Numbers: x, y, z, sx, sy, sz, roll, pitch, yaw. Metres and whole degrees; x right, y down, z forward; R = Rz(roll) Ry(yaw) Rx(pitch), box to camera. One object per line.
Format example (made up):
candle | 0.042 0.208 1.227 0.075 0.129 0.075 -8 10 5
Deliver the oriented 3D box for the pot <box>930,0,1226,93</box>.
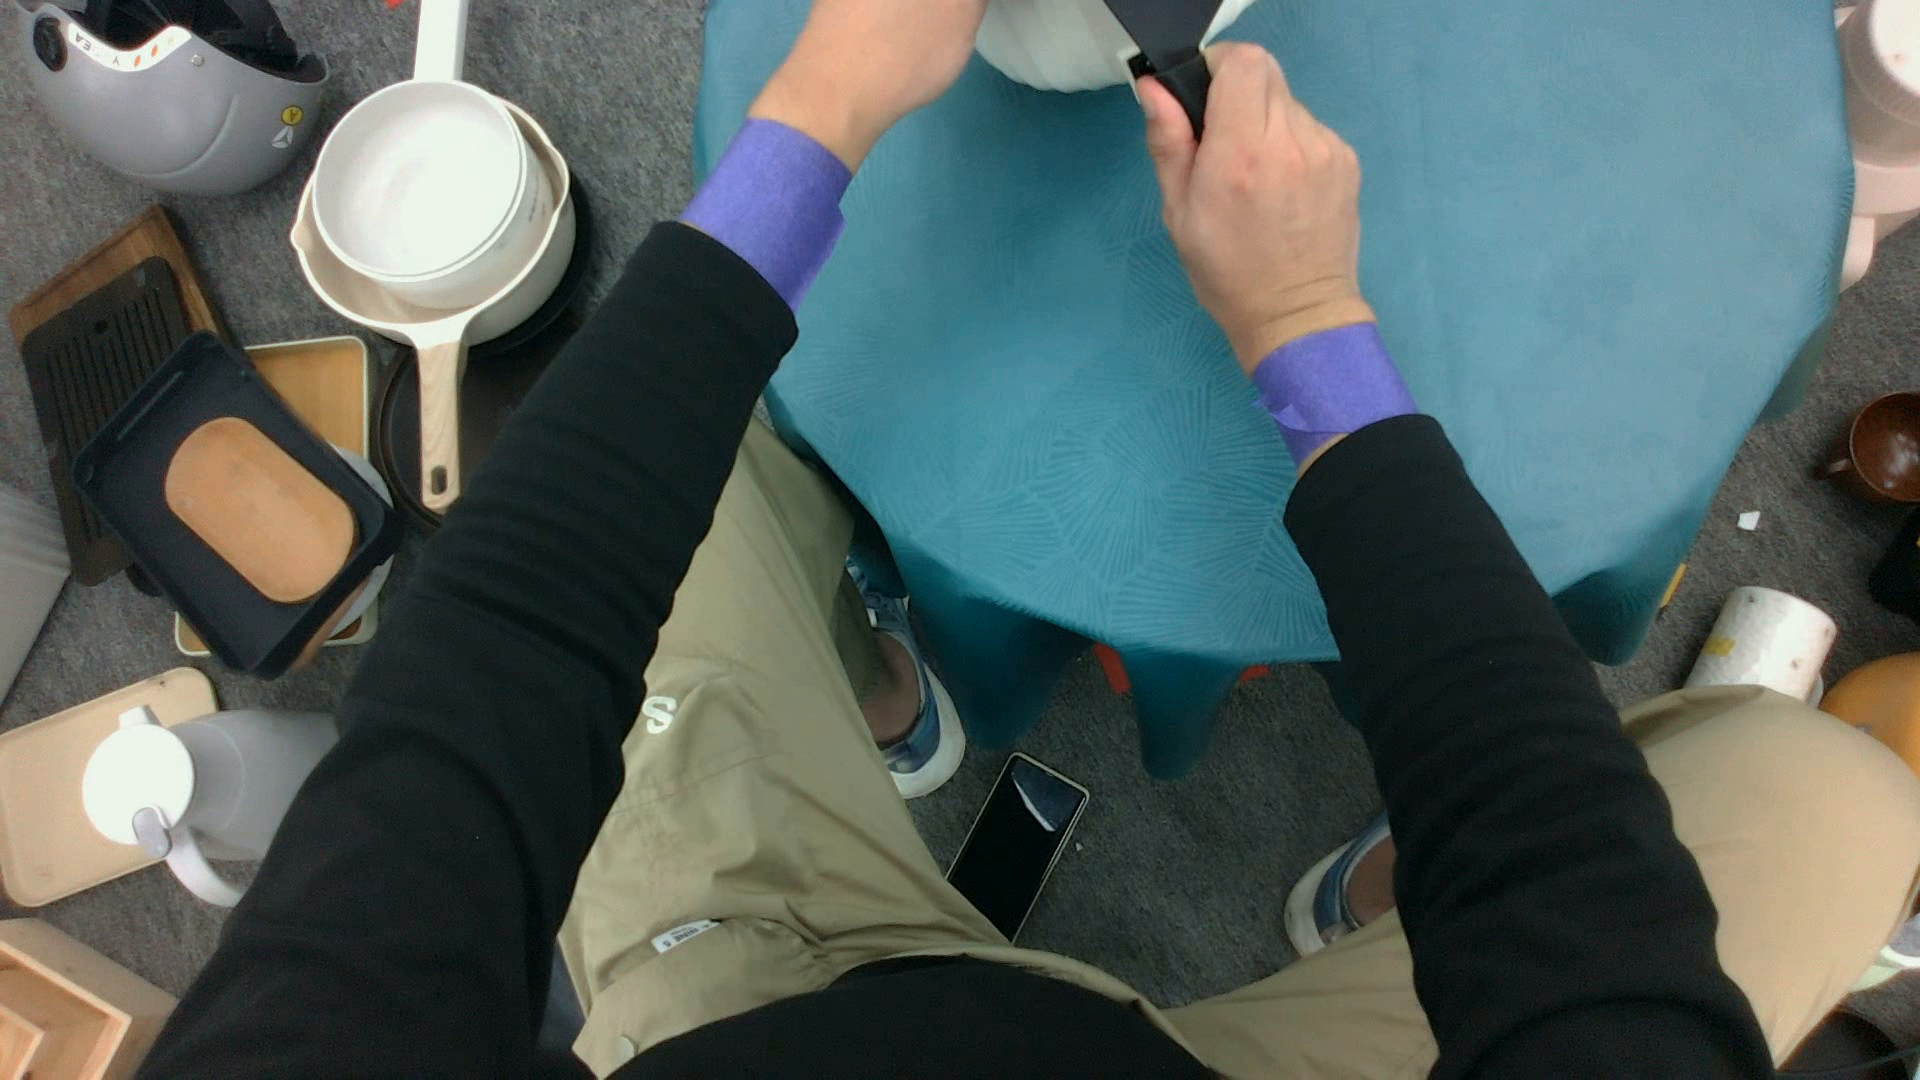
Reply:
pot | 0.053 -0.322 0.666 0.240 0.142 0.191 -22 51 13

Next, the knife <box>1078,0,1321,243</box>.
knife | 0.077 -0.235 0.577 0.021 0.302 0.081 13 64 50
